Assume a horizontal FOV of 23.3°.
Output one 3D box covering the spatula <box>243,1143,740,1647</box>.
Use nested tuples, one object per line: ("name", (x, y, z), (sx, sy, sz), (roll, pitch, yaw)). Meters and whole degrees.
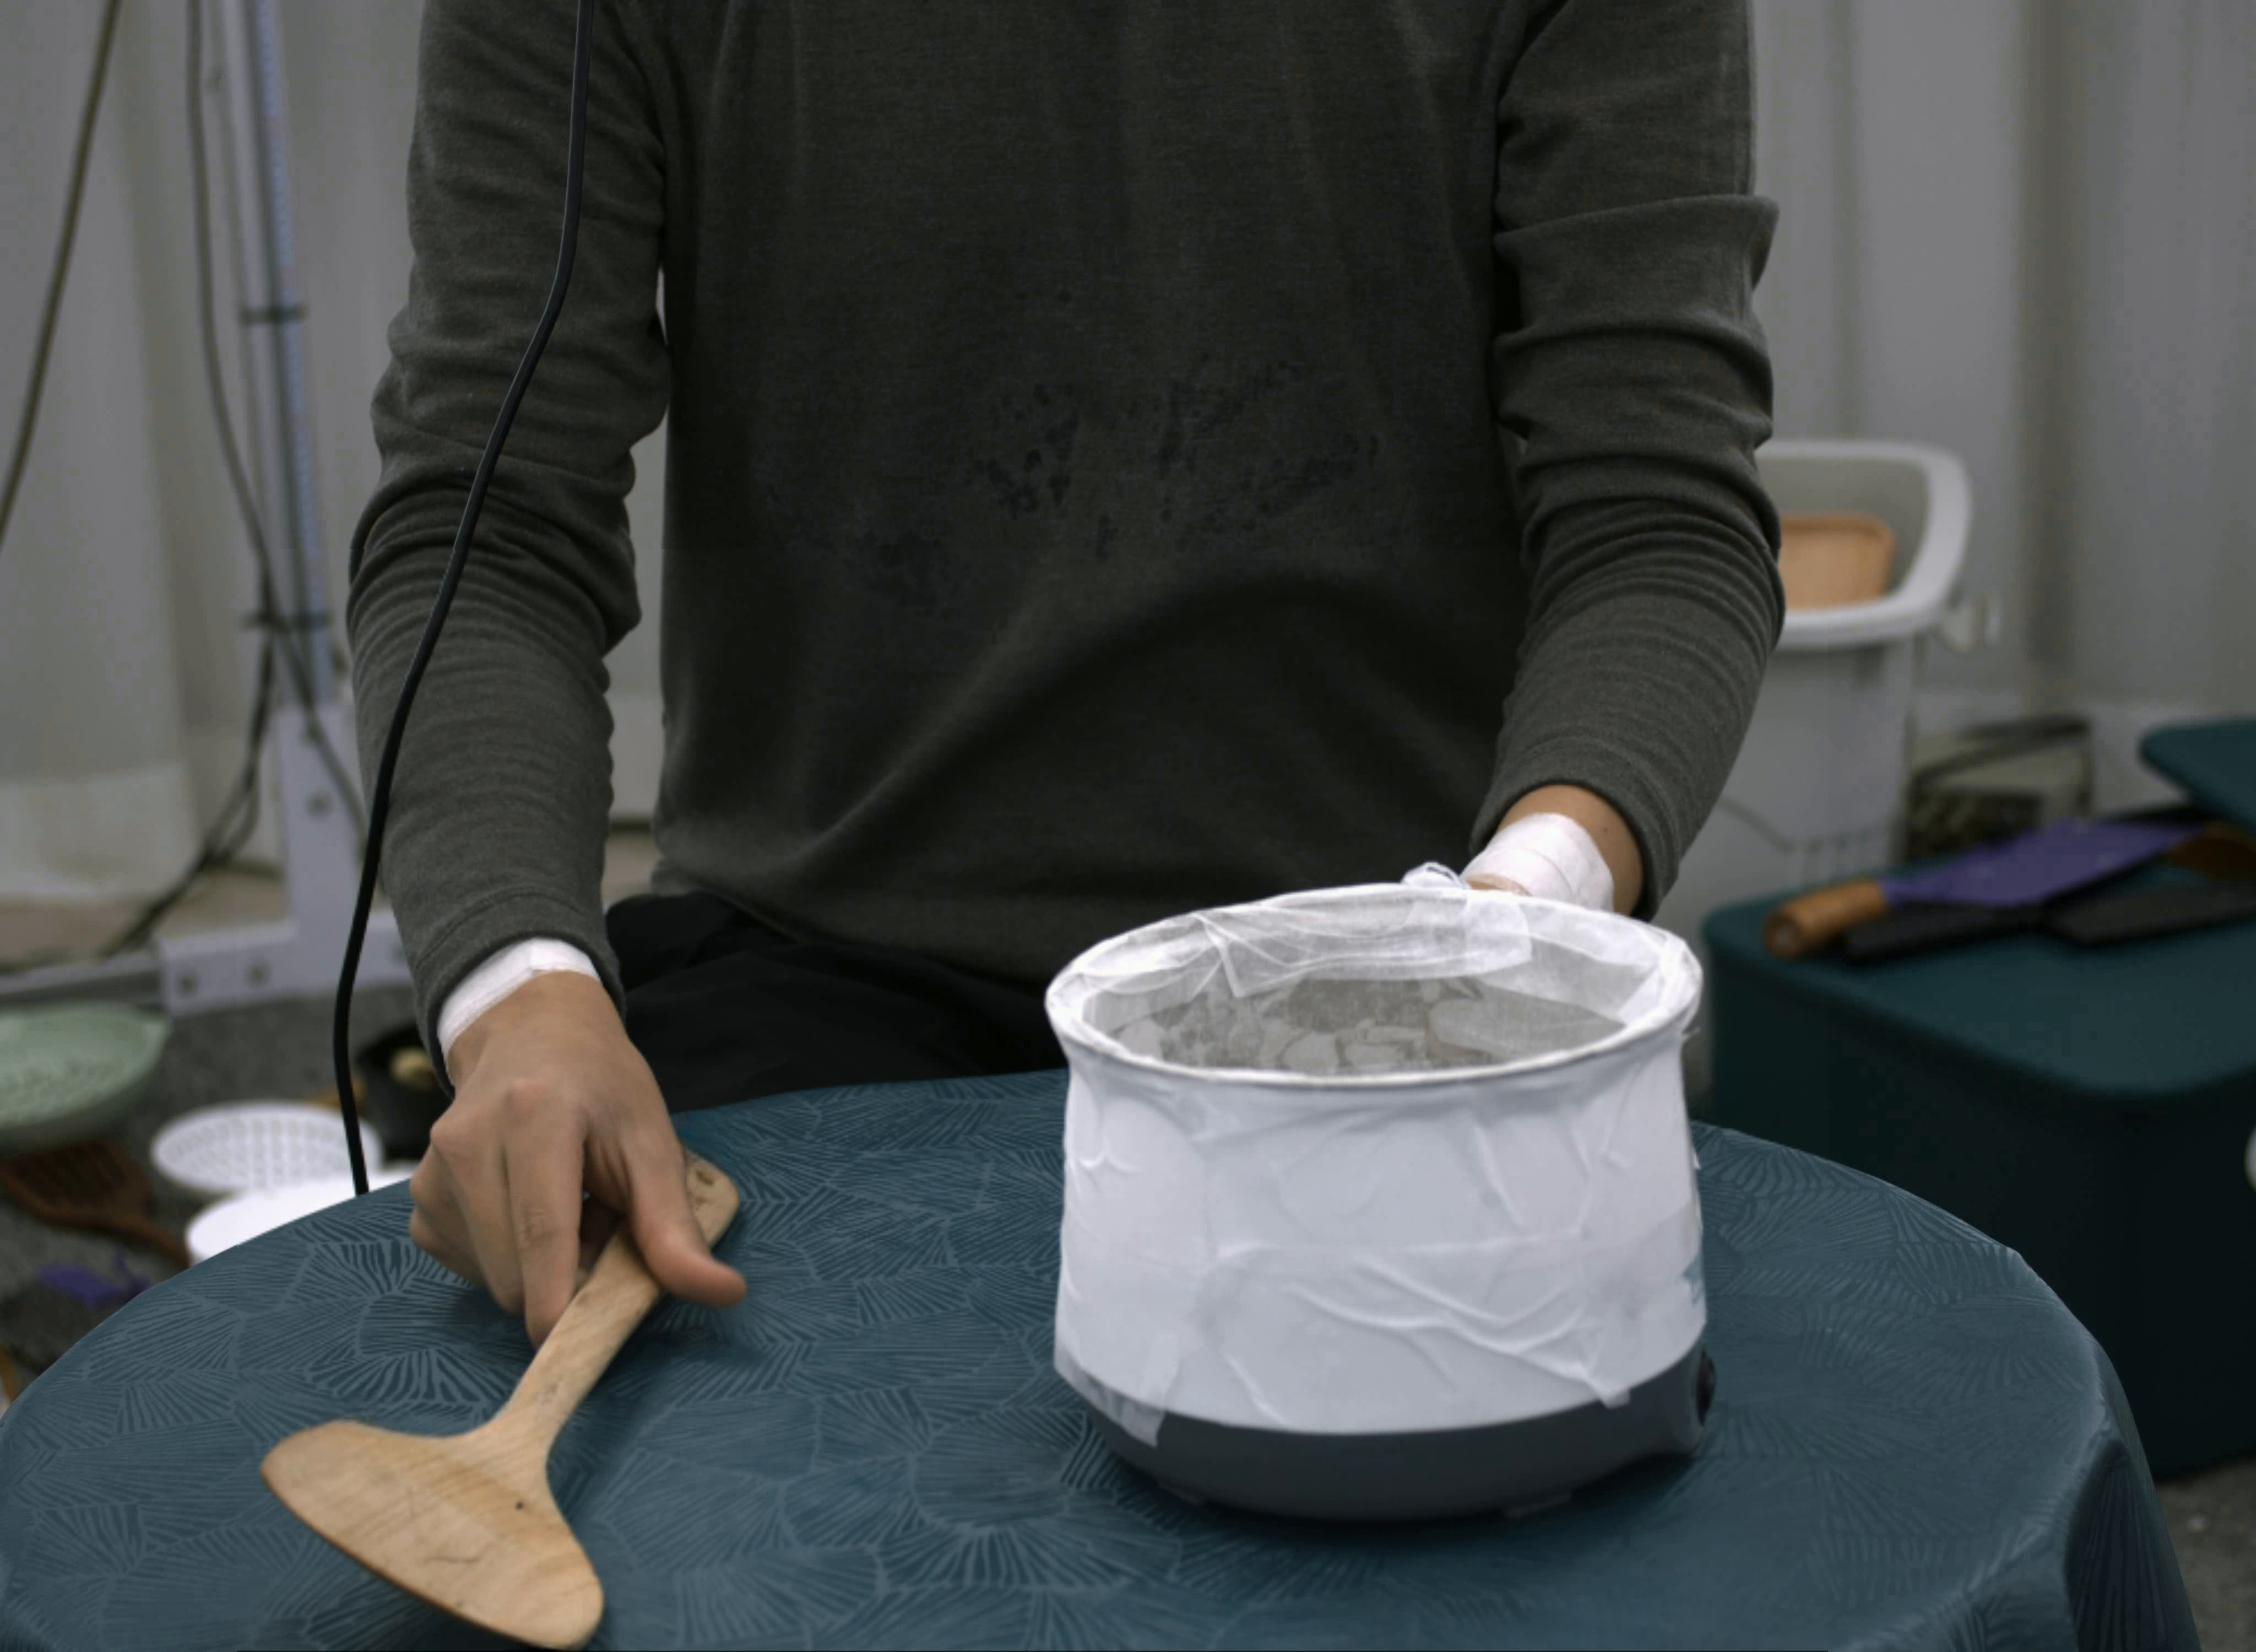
("spatula", (-0.160, 0.144, 1.536), (0.095, 0.018, 0.392), (33, 15, 0))

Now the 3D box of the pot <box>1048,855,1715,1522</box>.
("pot", (0.075, 0.094, 1.511), (0.178, 0.136, 0.235), (1, 16, 12))
